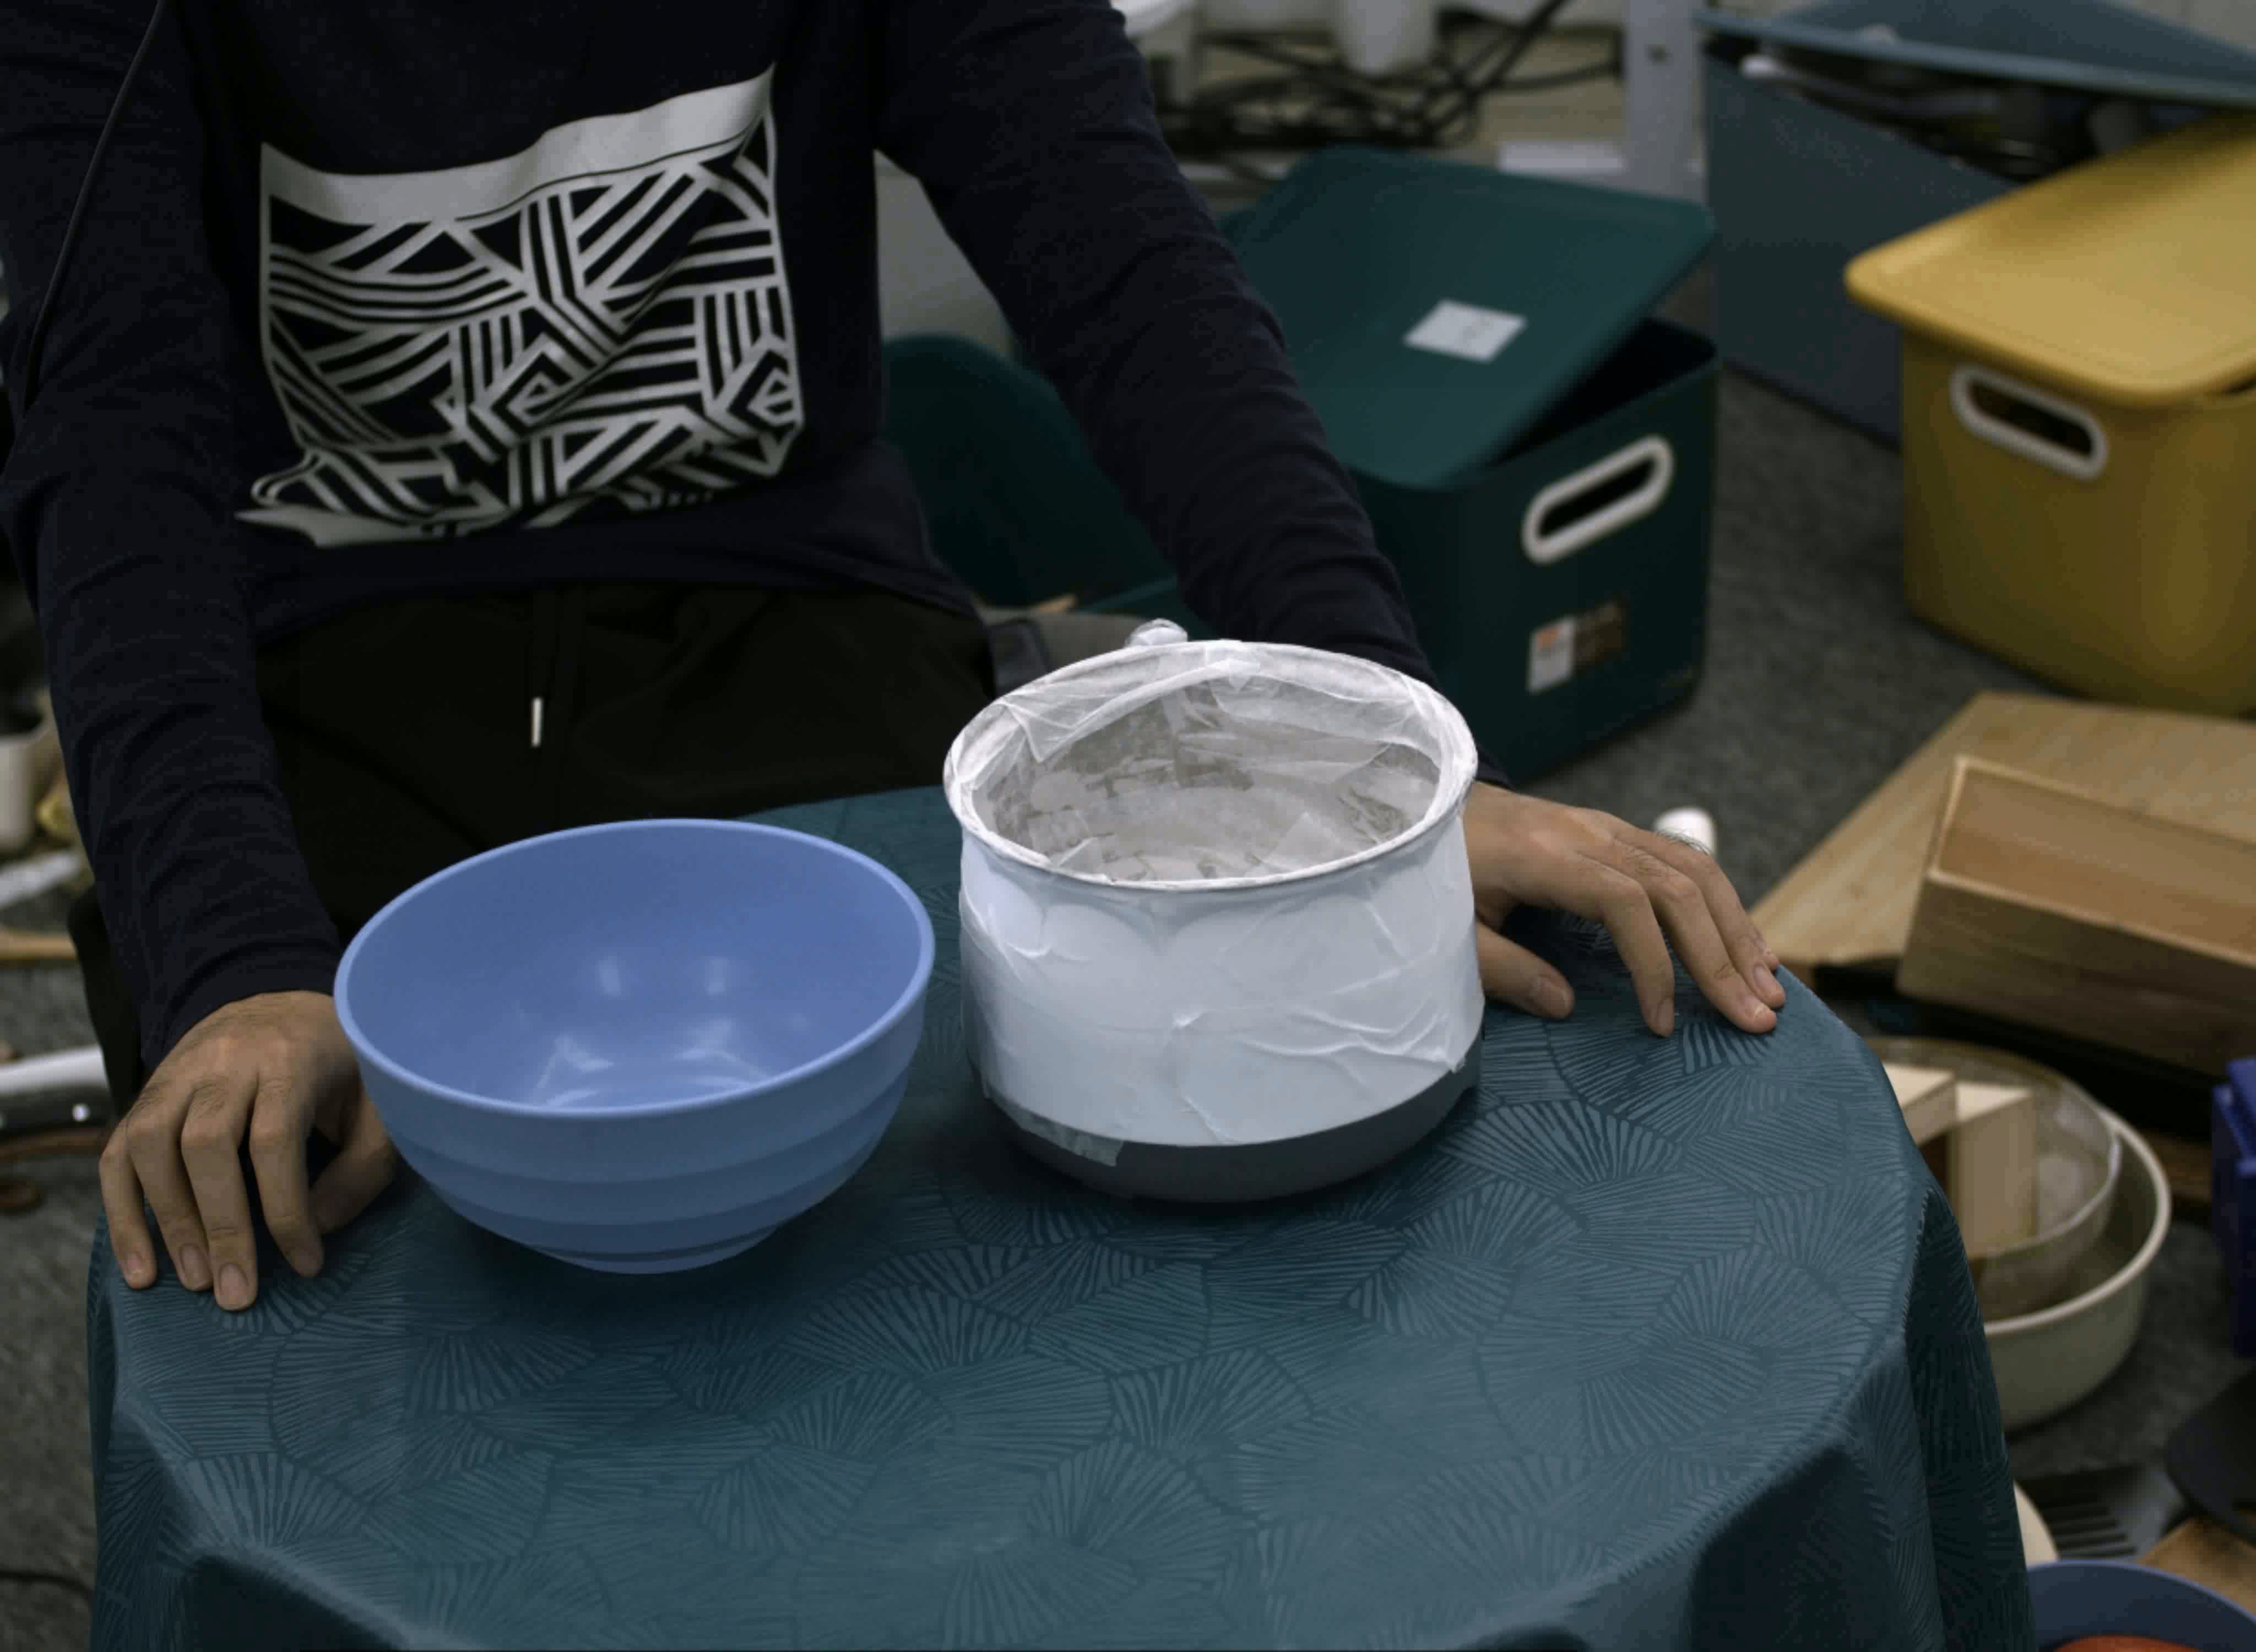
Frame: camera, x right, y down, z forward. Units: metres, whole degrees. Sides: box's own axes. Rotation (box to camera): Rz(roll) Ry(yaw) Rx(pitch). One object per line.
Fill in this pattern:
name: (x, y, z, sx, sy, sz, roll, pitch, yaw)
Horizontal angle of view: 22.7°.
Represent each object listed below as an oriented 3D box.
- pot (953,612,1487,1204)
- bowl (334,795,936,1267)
pot: (0.025, 0.020, 1.906, 0.178, 0.135, 0.236, -5, 28, -10)
bowl: (-0.158, 0.080, 1.845, 0.195, 0.094, 0.200, -2, 31, 2)
